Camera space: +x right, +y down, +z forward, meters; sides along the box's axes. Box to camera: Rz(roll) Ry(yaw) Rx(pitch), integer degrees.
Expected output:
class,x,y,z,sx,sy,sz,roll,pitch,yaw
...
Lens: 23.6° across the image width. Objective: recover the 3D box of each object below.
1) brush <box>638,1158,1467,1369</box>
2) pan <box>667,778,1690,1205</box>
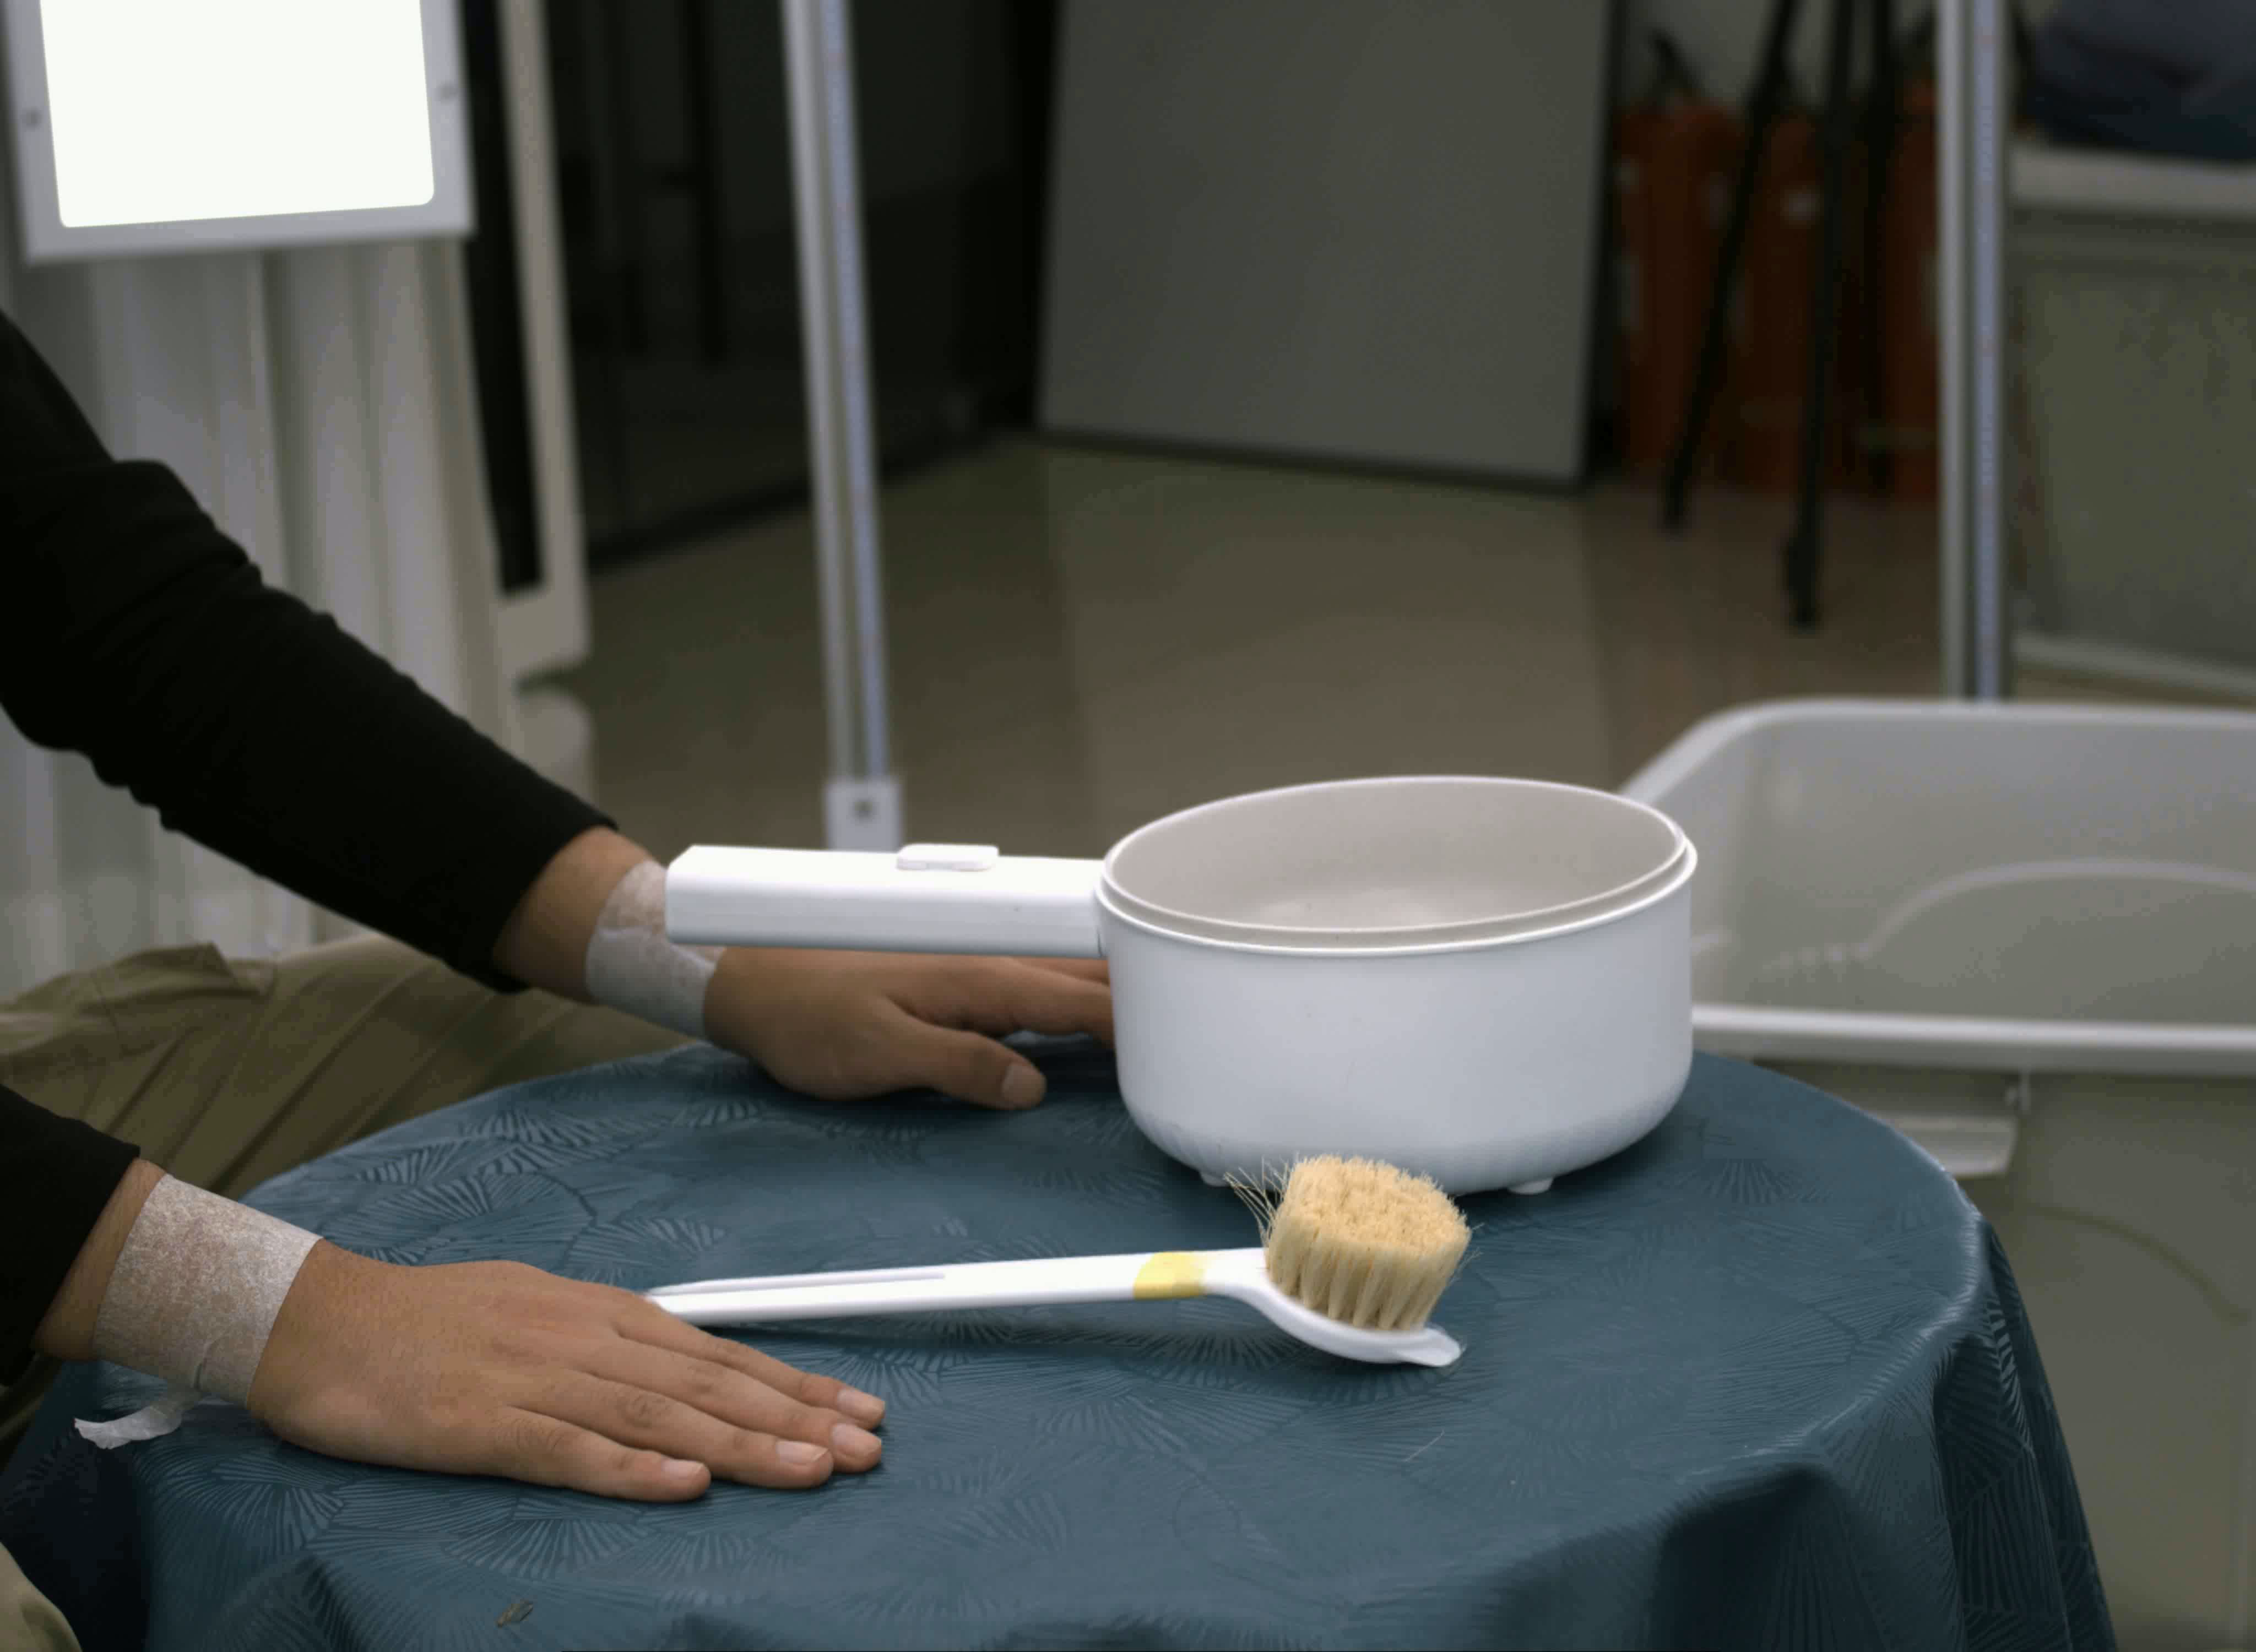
class,x,y,z,sx,sy,sz,roll,pitch,yaw
brush,-0.027,0.131,1.627,0.266,0.057,0.068,0,10,20
pan,0.017,0.058,1.817,0.353,0.103,0.199,-1,15,17
